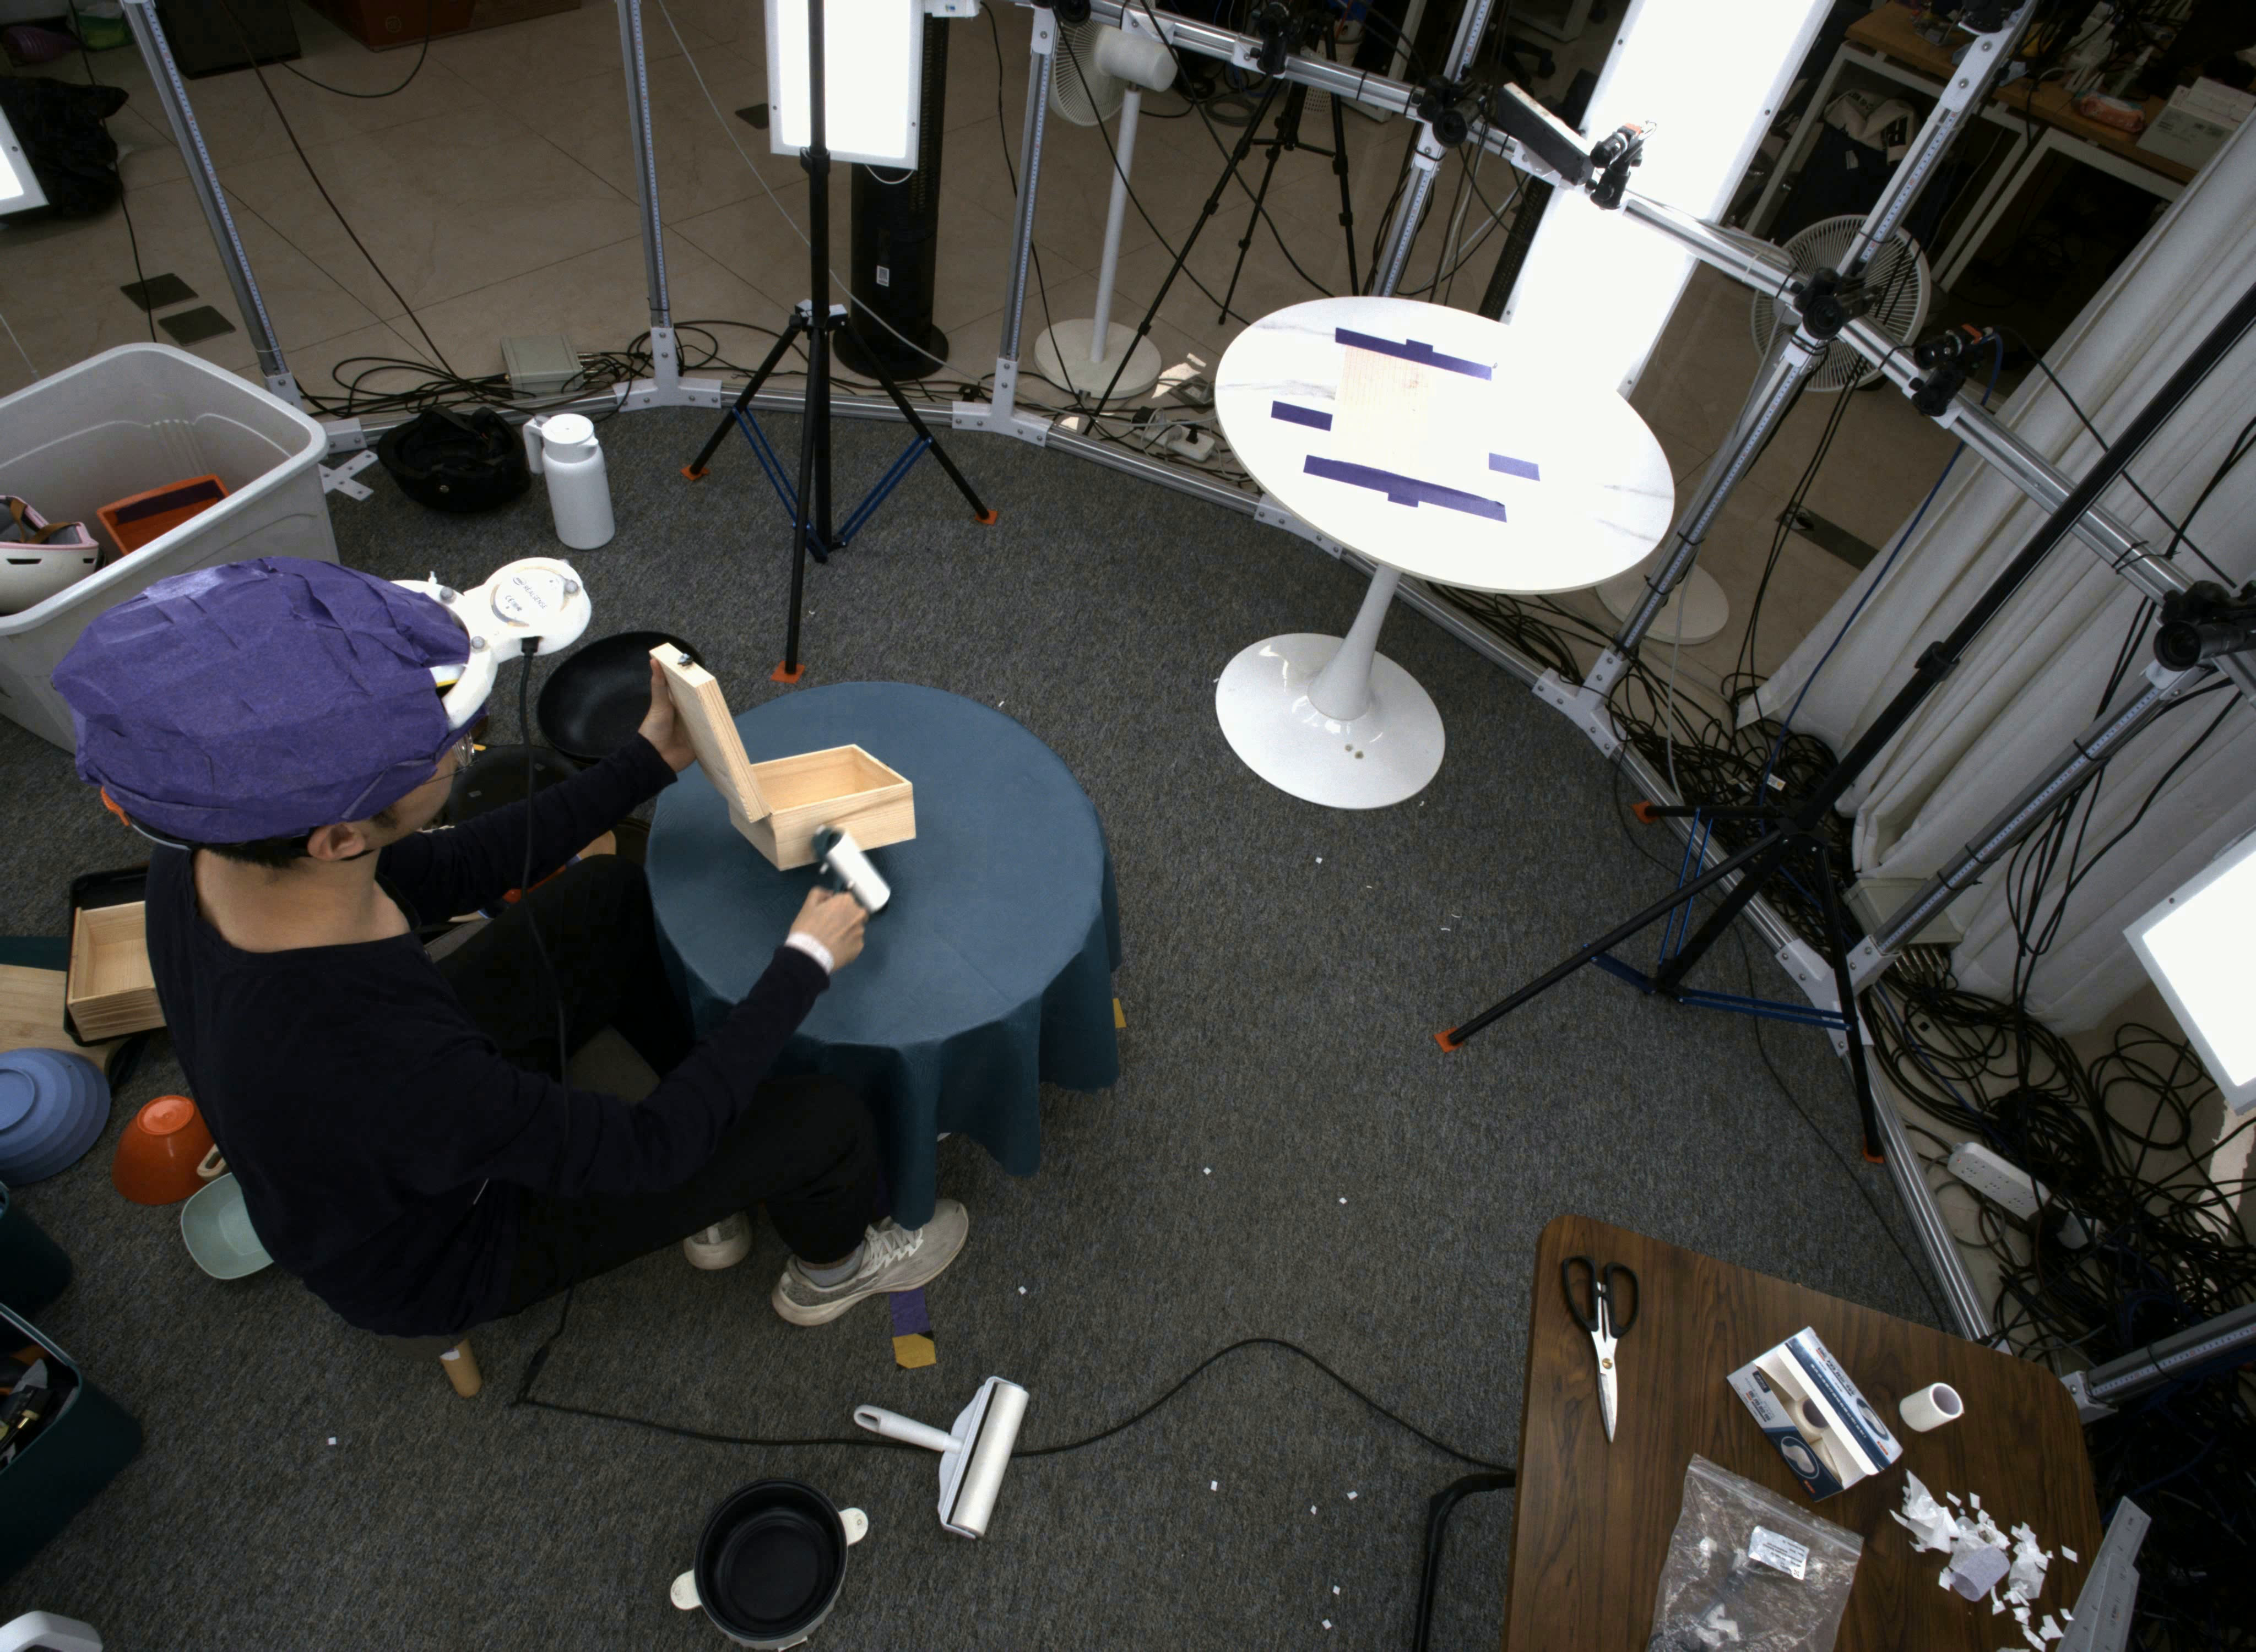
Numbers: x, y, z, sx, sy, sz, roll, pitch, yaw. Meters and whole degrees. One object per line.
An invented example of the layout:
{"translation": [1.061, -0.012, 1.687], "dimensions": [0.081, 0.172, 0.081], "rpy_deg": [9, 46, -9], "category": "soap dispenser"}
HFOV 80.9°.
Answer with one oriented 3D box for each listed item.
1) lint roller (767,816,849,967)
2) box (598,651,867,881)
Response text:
{"translation": [-0.383, 0.091, 1.514], "dimensions": [0.047, 0.139, 0.176], "rpy_deg": [-21, 36, 13], "category": "lint roller"}
{"translation": [-0.482, -0.096, 1.575], "dimensions": [0.267, 0.261, 0.175], "rpy_deg": [-19, 31, -34], "category": "box"}
